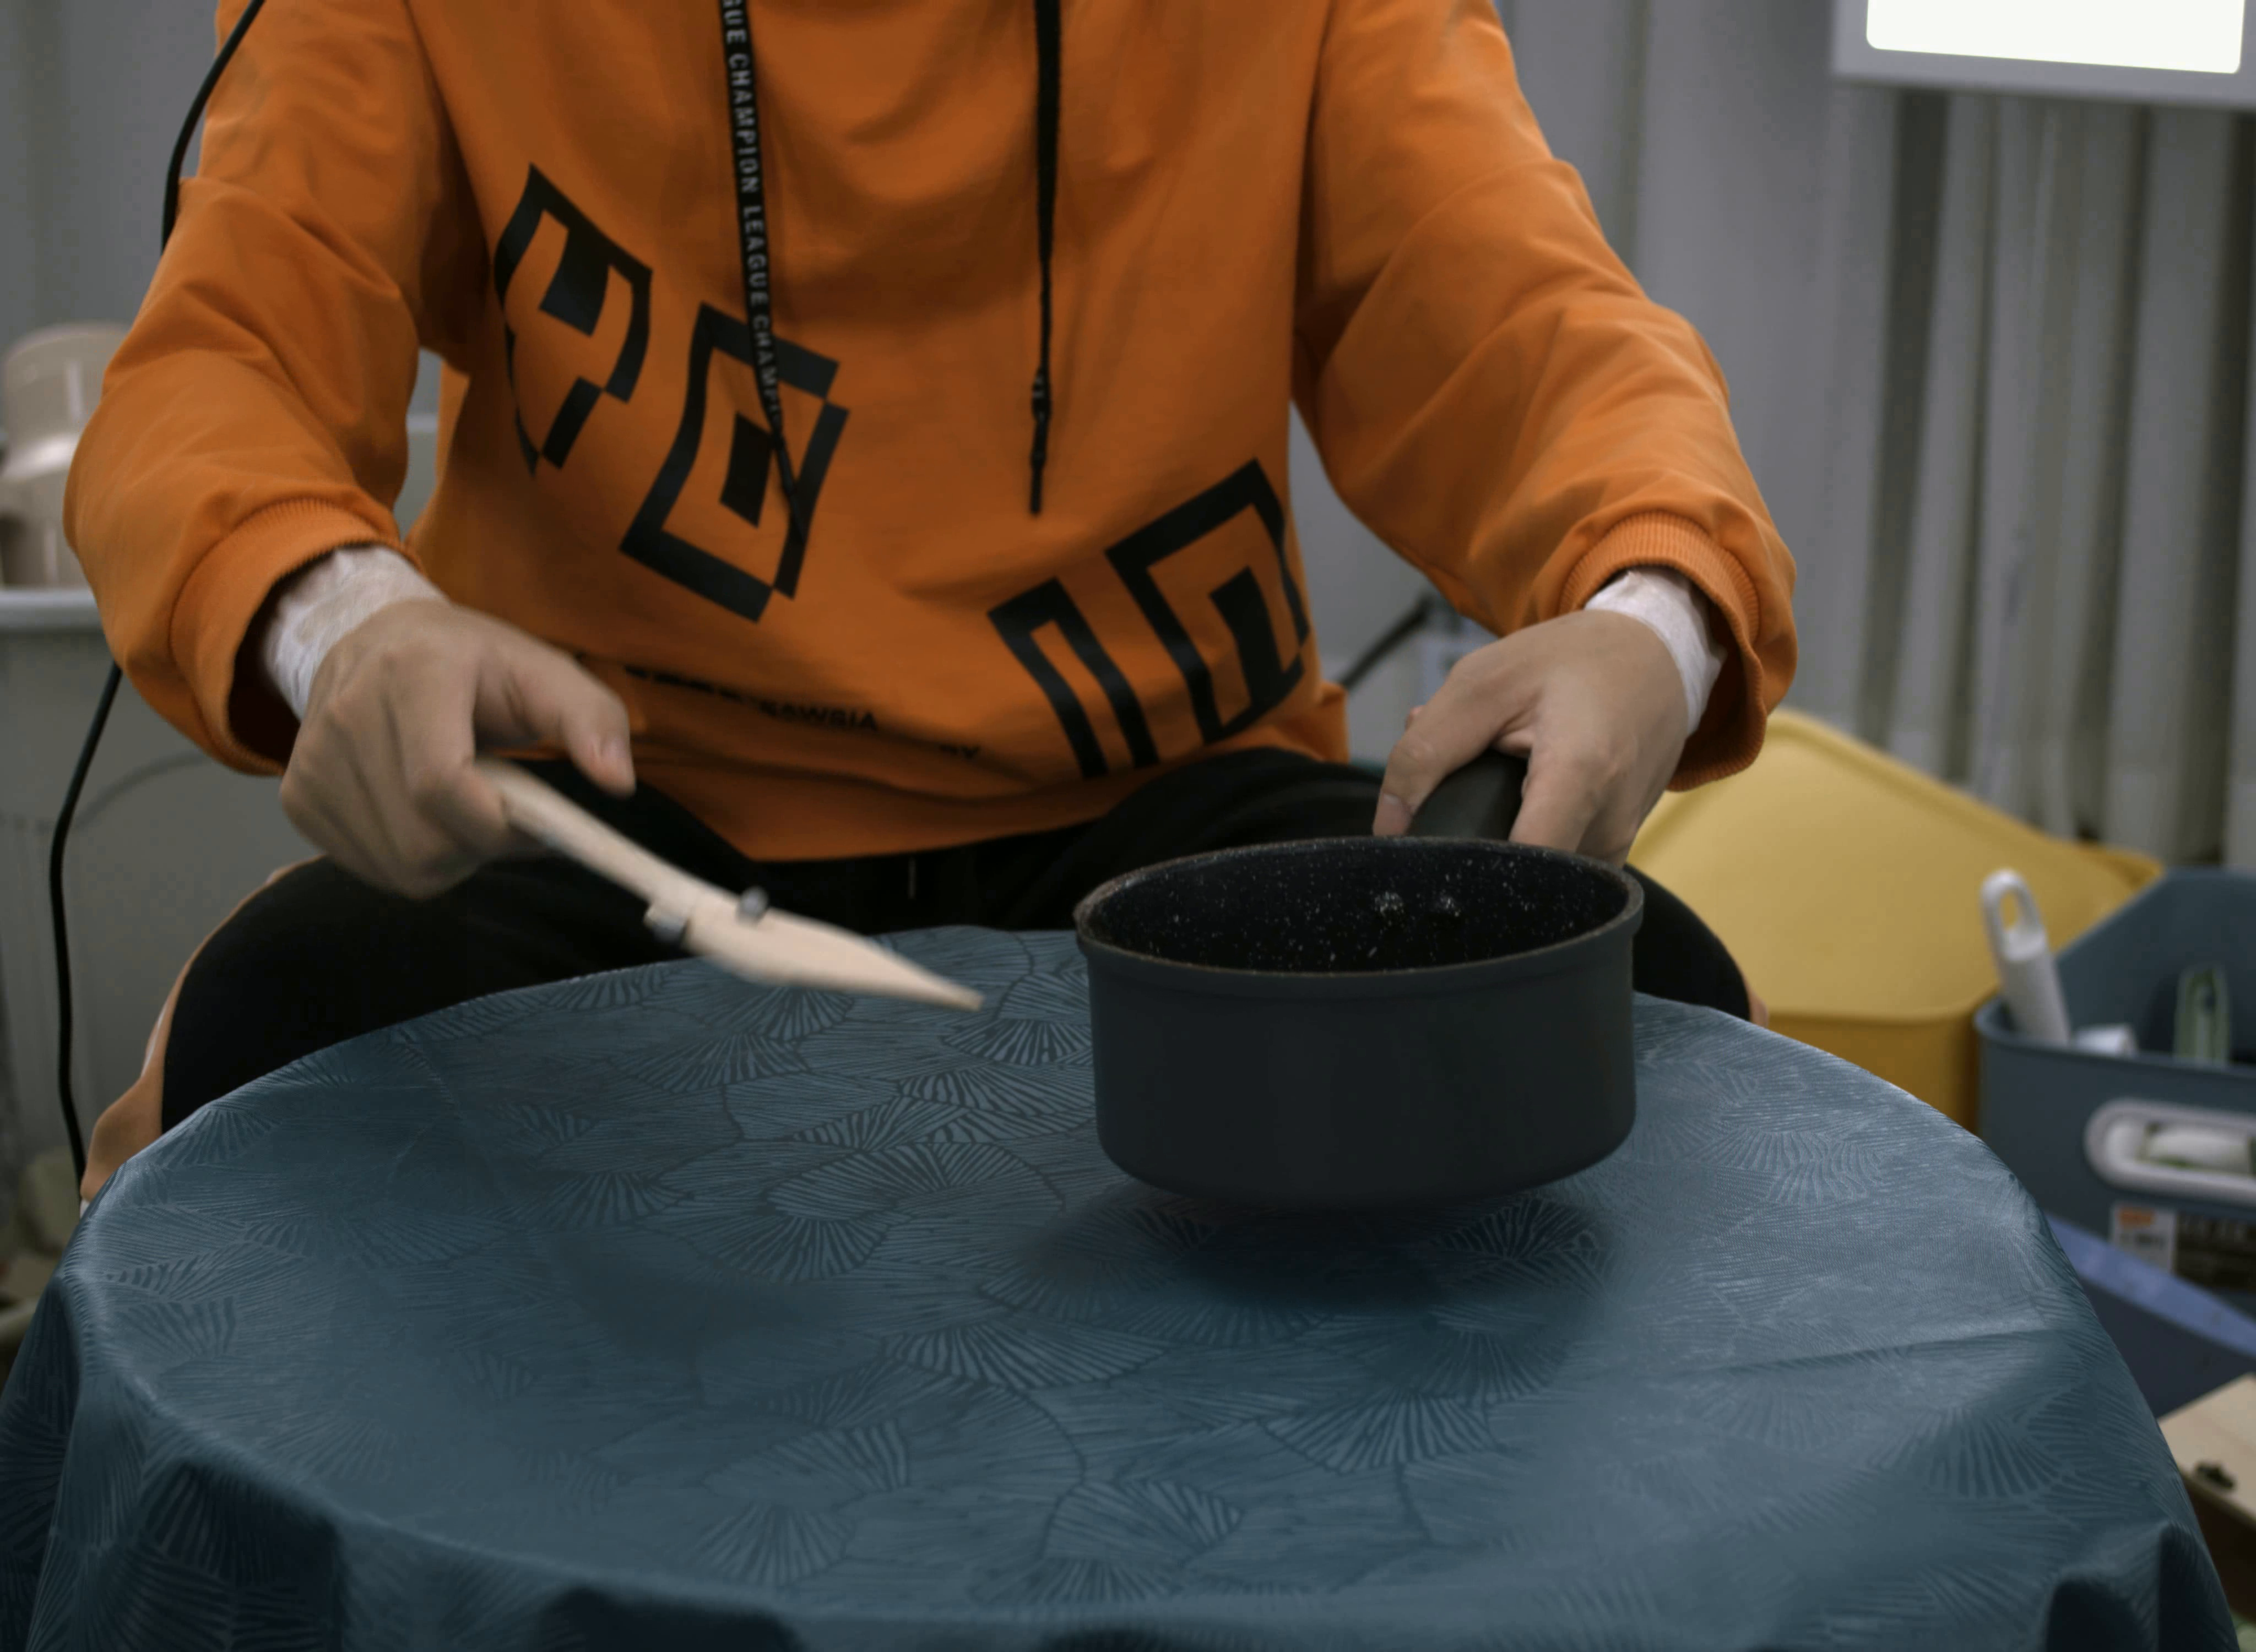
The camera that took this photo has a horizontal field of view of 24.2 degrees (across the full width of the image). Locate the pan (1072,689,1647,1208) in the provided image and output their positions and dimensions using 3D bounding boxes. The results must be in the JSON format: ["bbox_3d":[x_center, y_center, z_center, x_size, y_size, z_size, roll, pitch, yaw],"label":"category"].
[{"bbox_3d":[0.095,0.035,1.653,0.170,0.087,0.329,3,16,18],"label":"pan"}]

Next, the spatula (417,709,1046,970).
[{"bbox_3d":[-0.134,-0.001,1.584,0.073,0.010,0.289,24,-2,-41],"label":"spatula"}]
